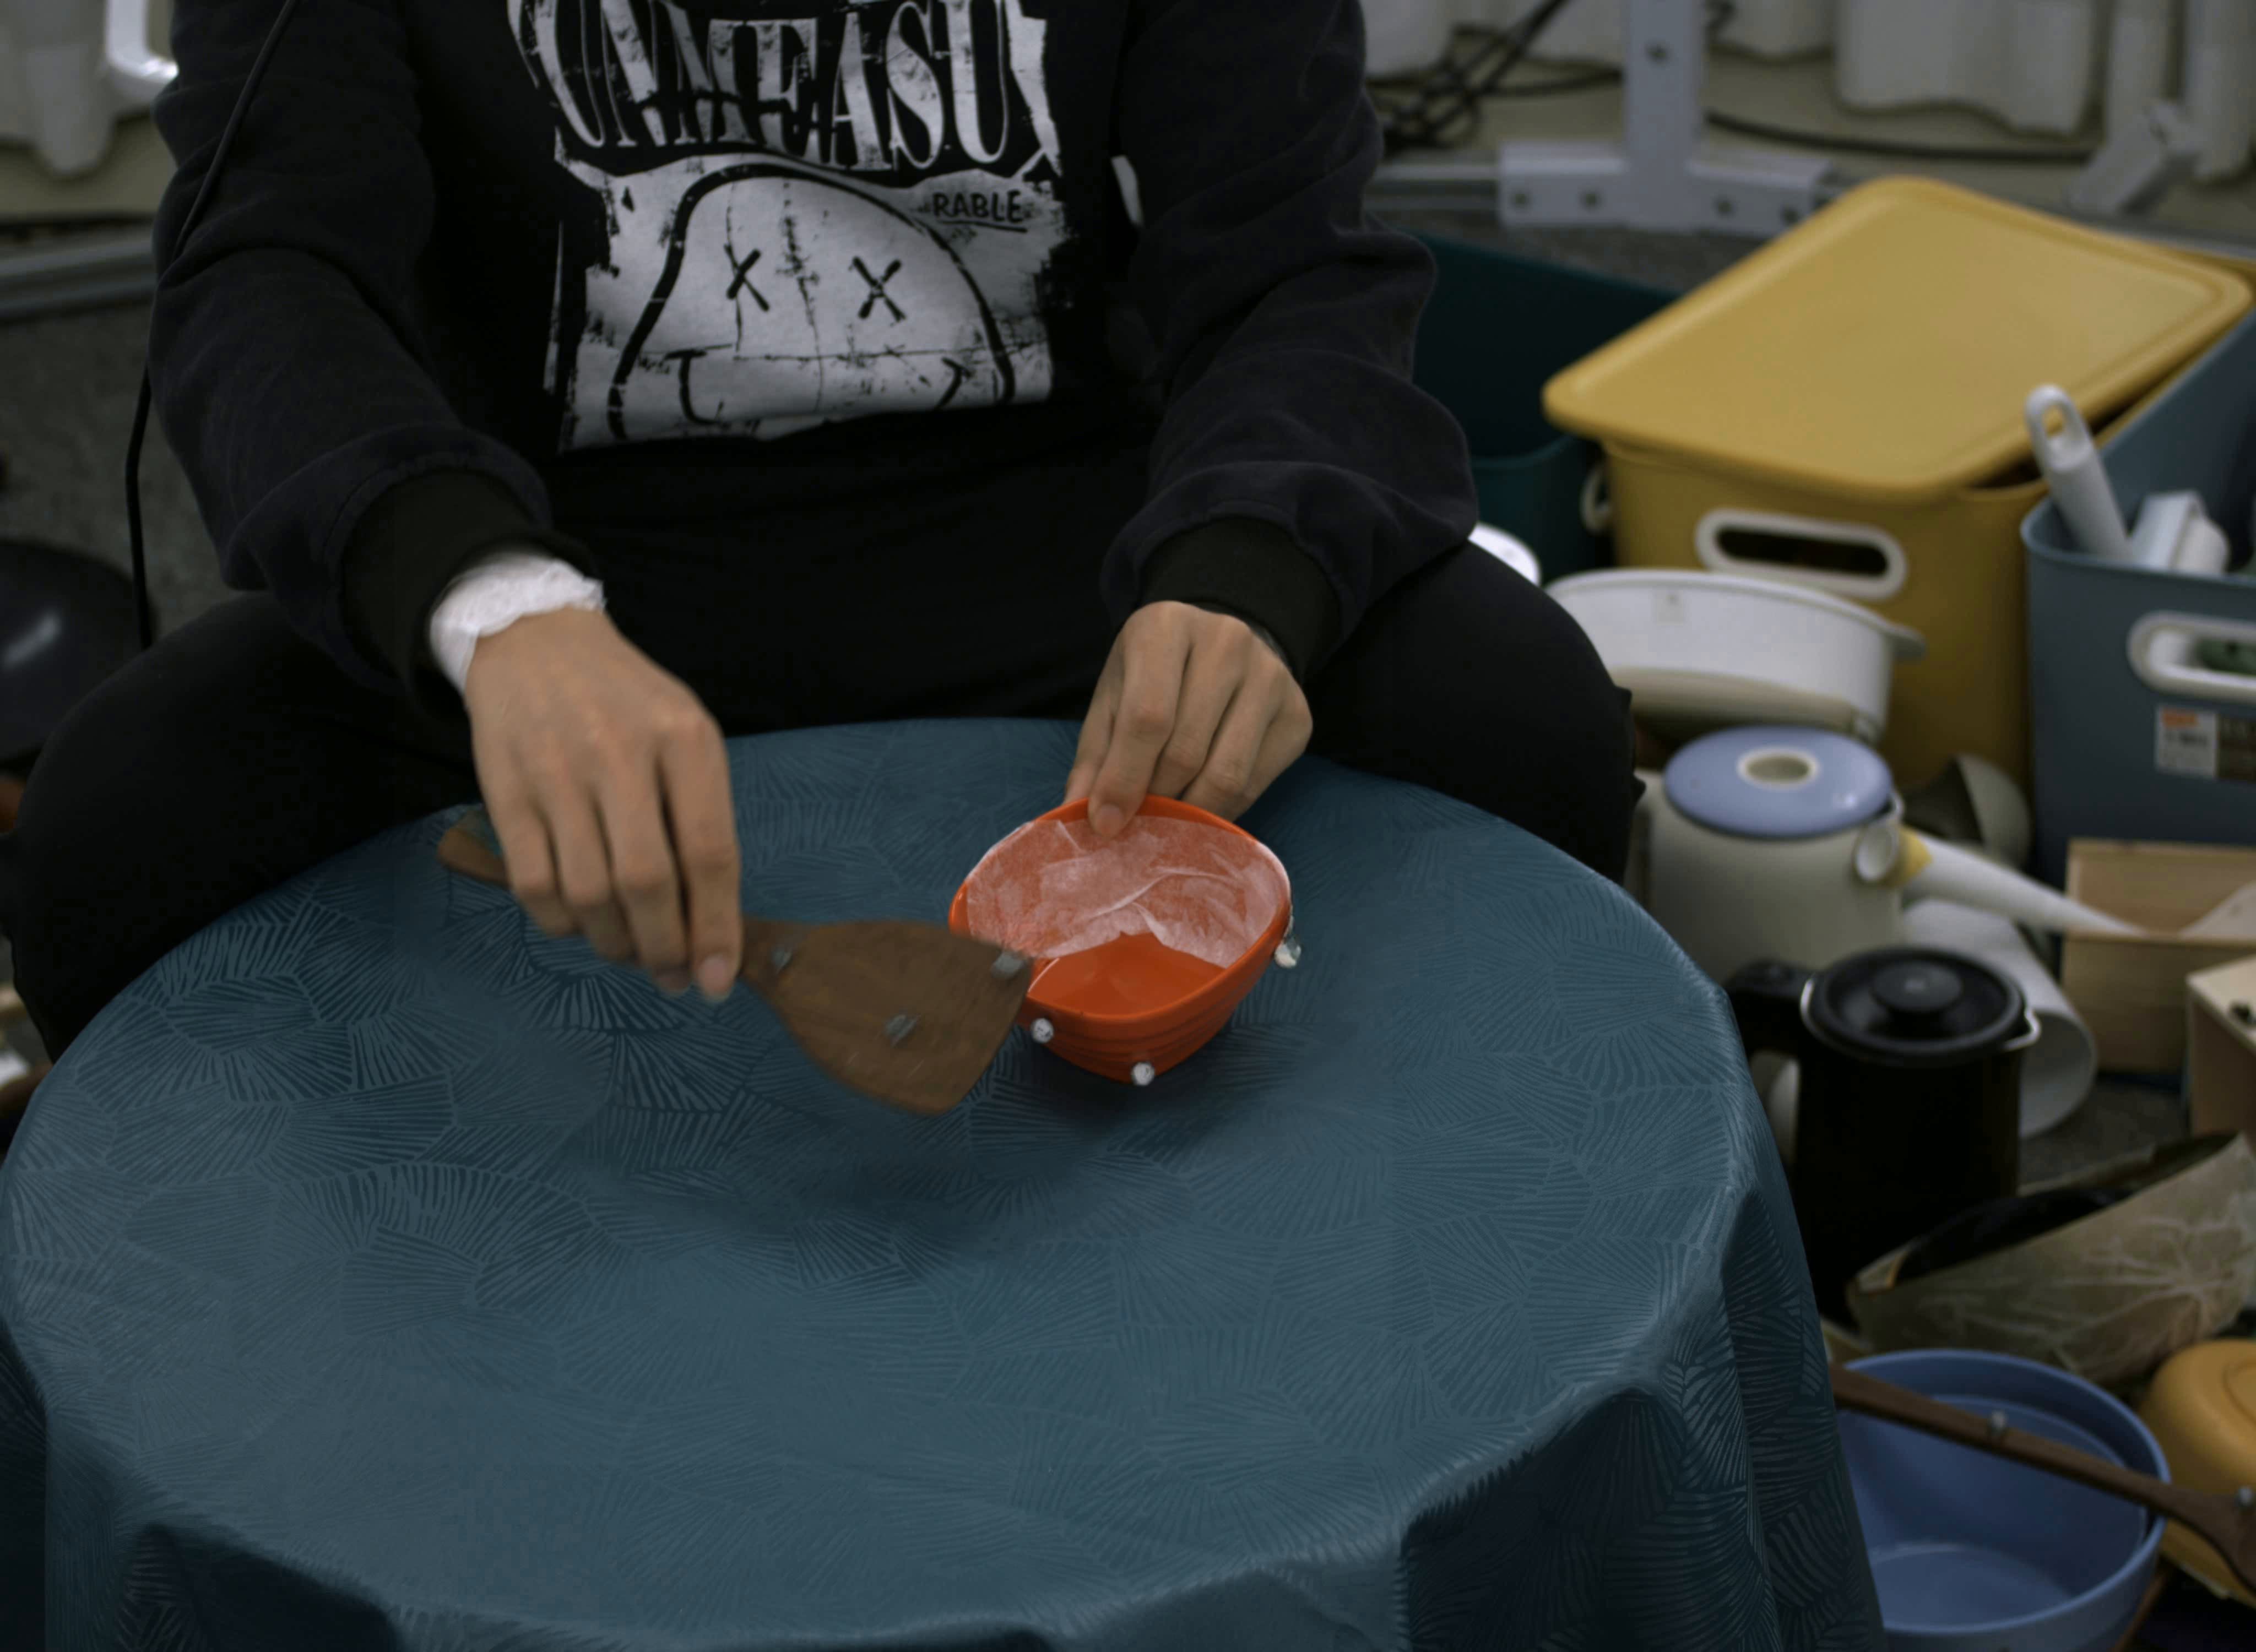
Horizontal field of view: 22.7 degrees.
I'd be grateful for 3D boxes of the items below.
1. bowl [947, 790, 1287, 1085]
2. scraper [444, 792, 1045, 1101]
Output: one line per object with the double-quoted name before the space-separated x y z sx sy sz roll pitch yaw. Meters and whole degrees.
"bowl" -0.002 0.045 1.943 0.118 0.050 0.121 -4 42 4
"scraper" -0.131 0.032 1.872 0.210 0.010 0.077 20 55 14
